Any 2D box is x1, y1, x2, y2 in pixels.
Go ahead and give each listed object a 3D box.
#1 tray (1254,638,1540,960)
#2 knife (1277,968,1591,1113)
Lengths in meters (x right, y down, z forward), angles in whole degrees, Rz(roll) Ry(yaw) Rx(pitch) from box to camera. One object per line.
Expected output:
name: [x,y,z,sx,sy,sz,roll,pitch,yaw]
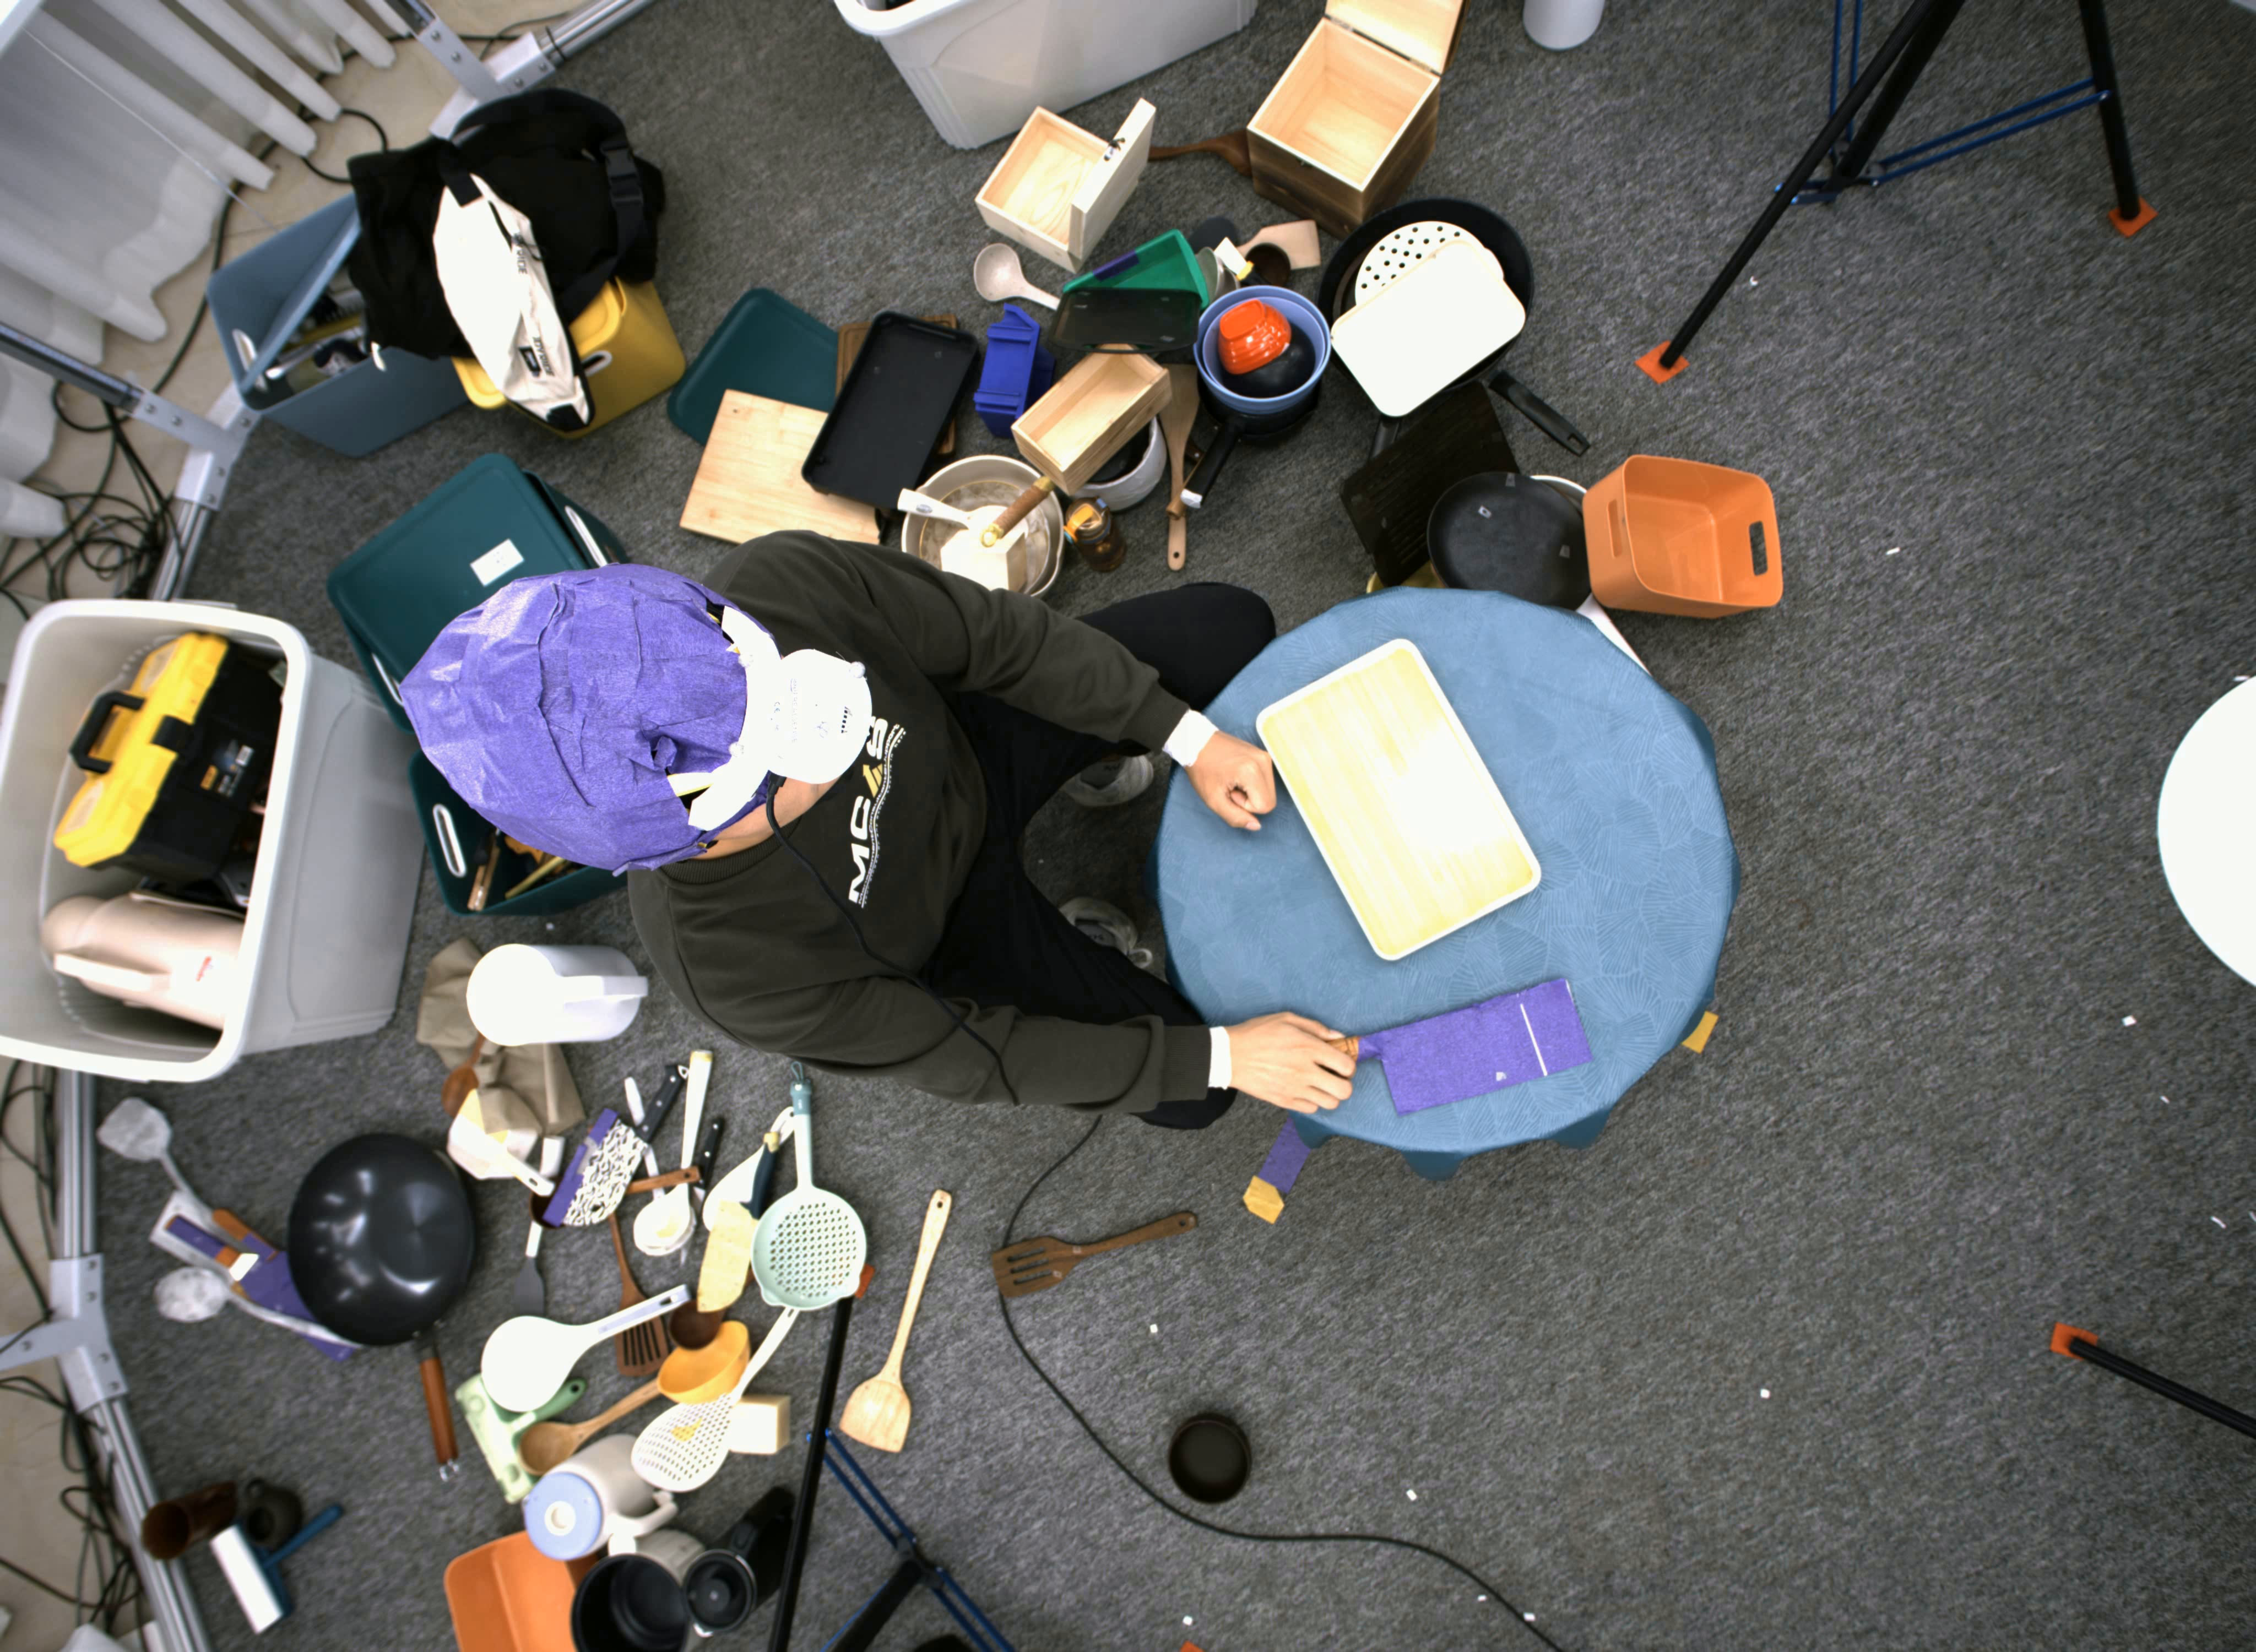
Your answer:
tray: [0.280,-0.030,1.450,0.193,0.027,0.298,-28,82,8]
knife: [0.316,0.239,1.428,0.317,0.032,0.103,-19,89,10]
